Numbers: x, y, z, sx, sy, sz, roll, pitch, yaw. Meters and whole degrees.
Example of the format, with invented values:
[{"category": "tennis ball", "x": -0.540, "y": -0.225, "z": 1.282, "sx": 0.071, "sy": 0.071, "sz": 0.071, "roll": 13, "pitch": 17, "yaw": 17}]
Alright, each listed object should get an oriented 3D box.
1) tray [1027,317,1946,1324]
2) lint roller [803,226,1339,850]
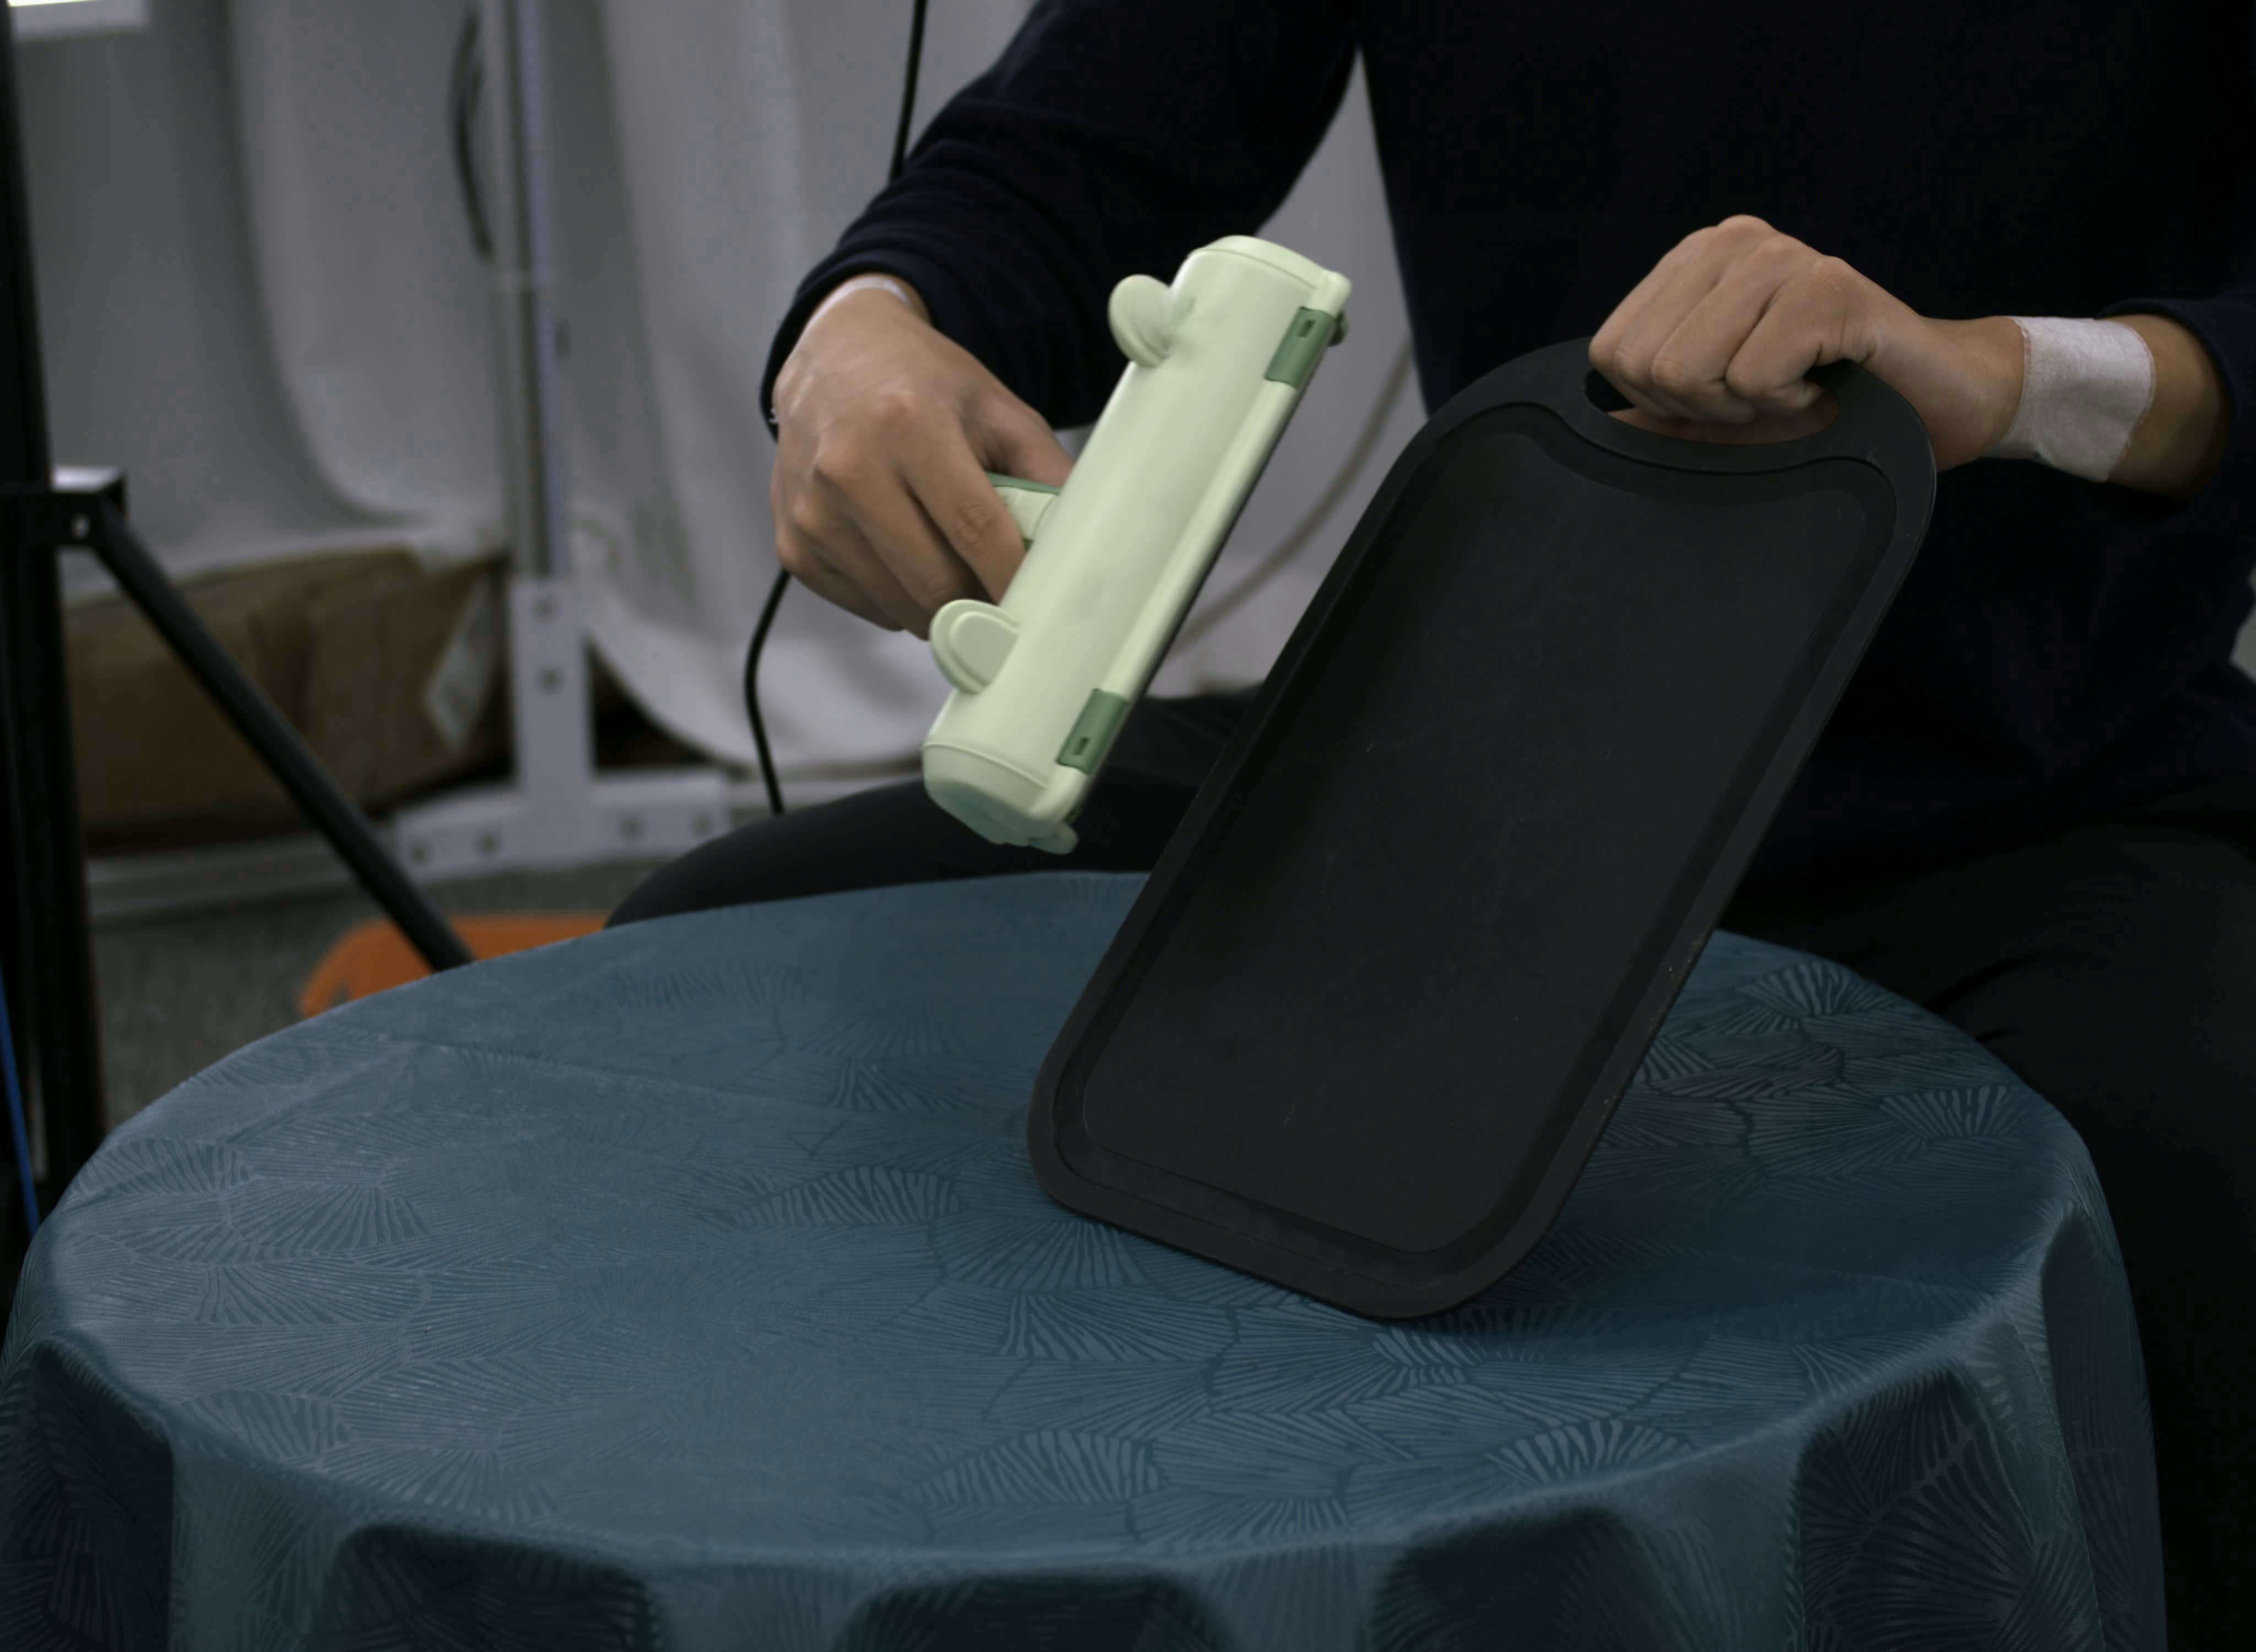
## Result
[{"category": "tray", "x": 0.103, "y": -0.013, "z": 1.532, "sx": 0.216, "sy": 0.325, "sz": 0.009, "roll": 16, "pitch": -20, "yaw": 48}, {"category": "lint roller", "x": -0.046, "y": -0.101, "z": 1.625, "sx": 0.187, "sy": 0.199, "sz": 0.080, "roll": 15, "pitch": -20, "yaw": 40}]
